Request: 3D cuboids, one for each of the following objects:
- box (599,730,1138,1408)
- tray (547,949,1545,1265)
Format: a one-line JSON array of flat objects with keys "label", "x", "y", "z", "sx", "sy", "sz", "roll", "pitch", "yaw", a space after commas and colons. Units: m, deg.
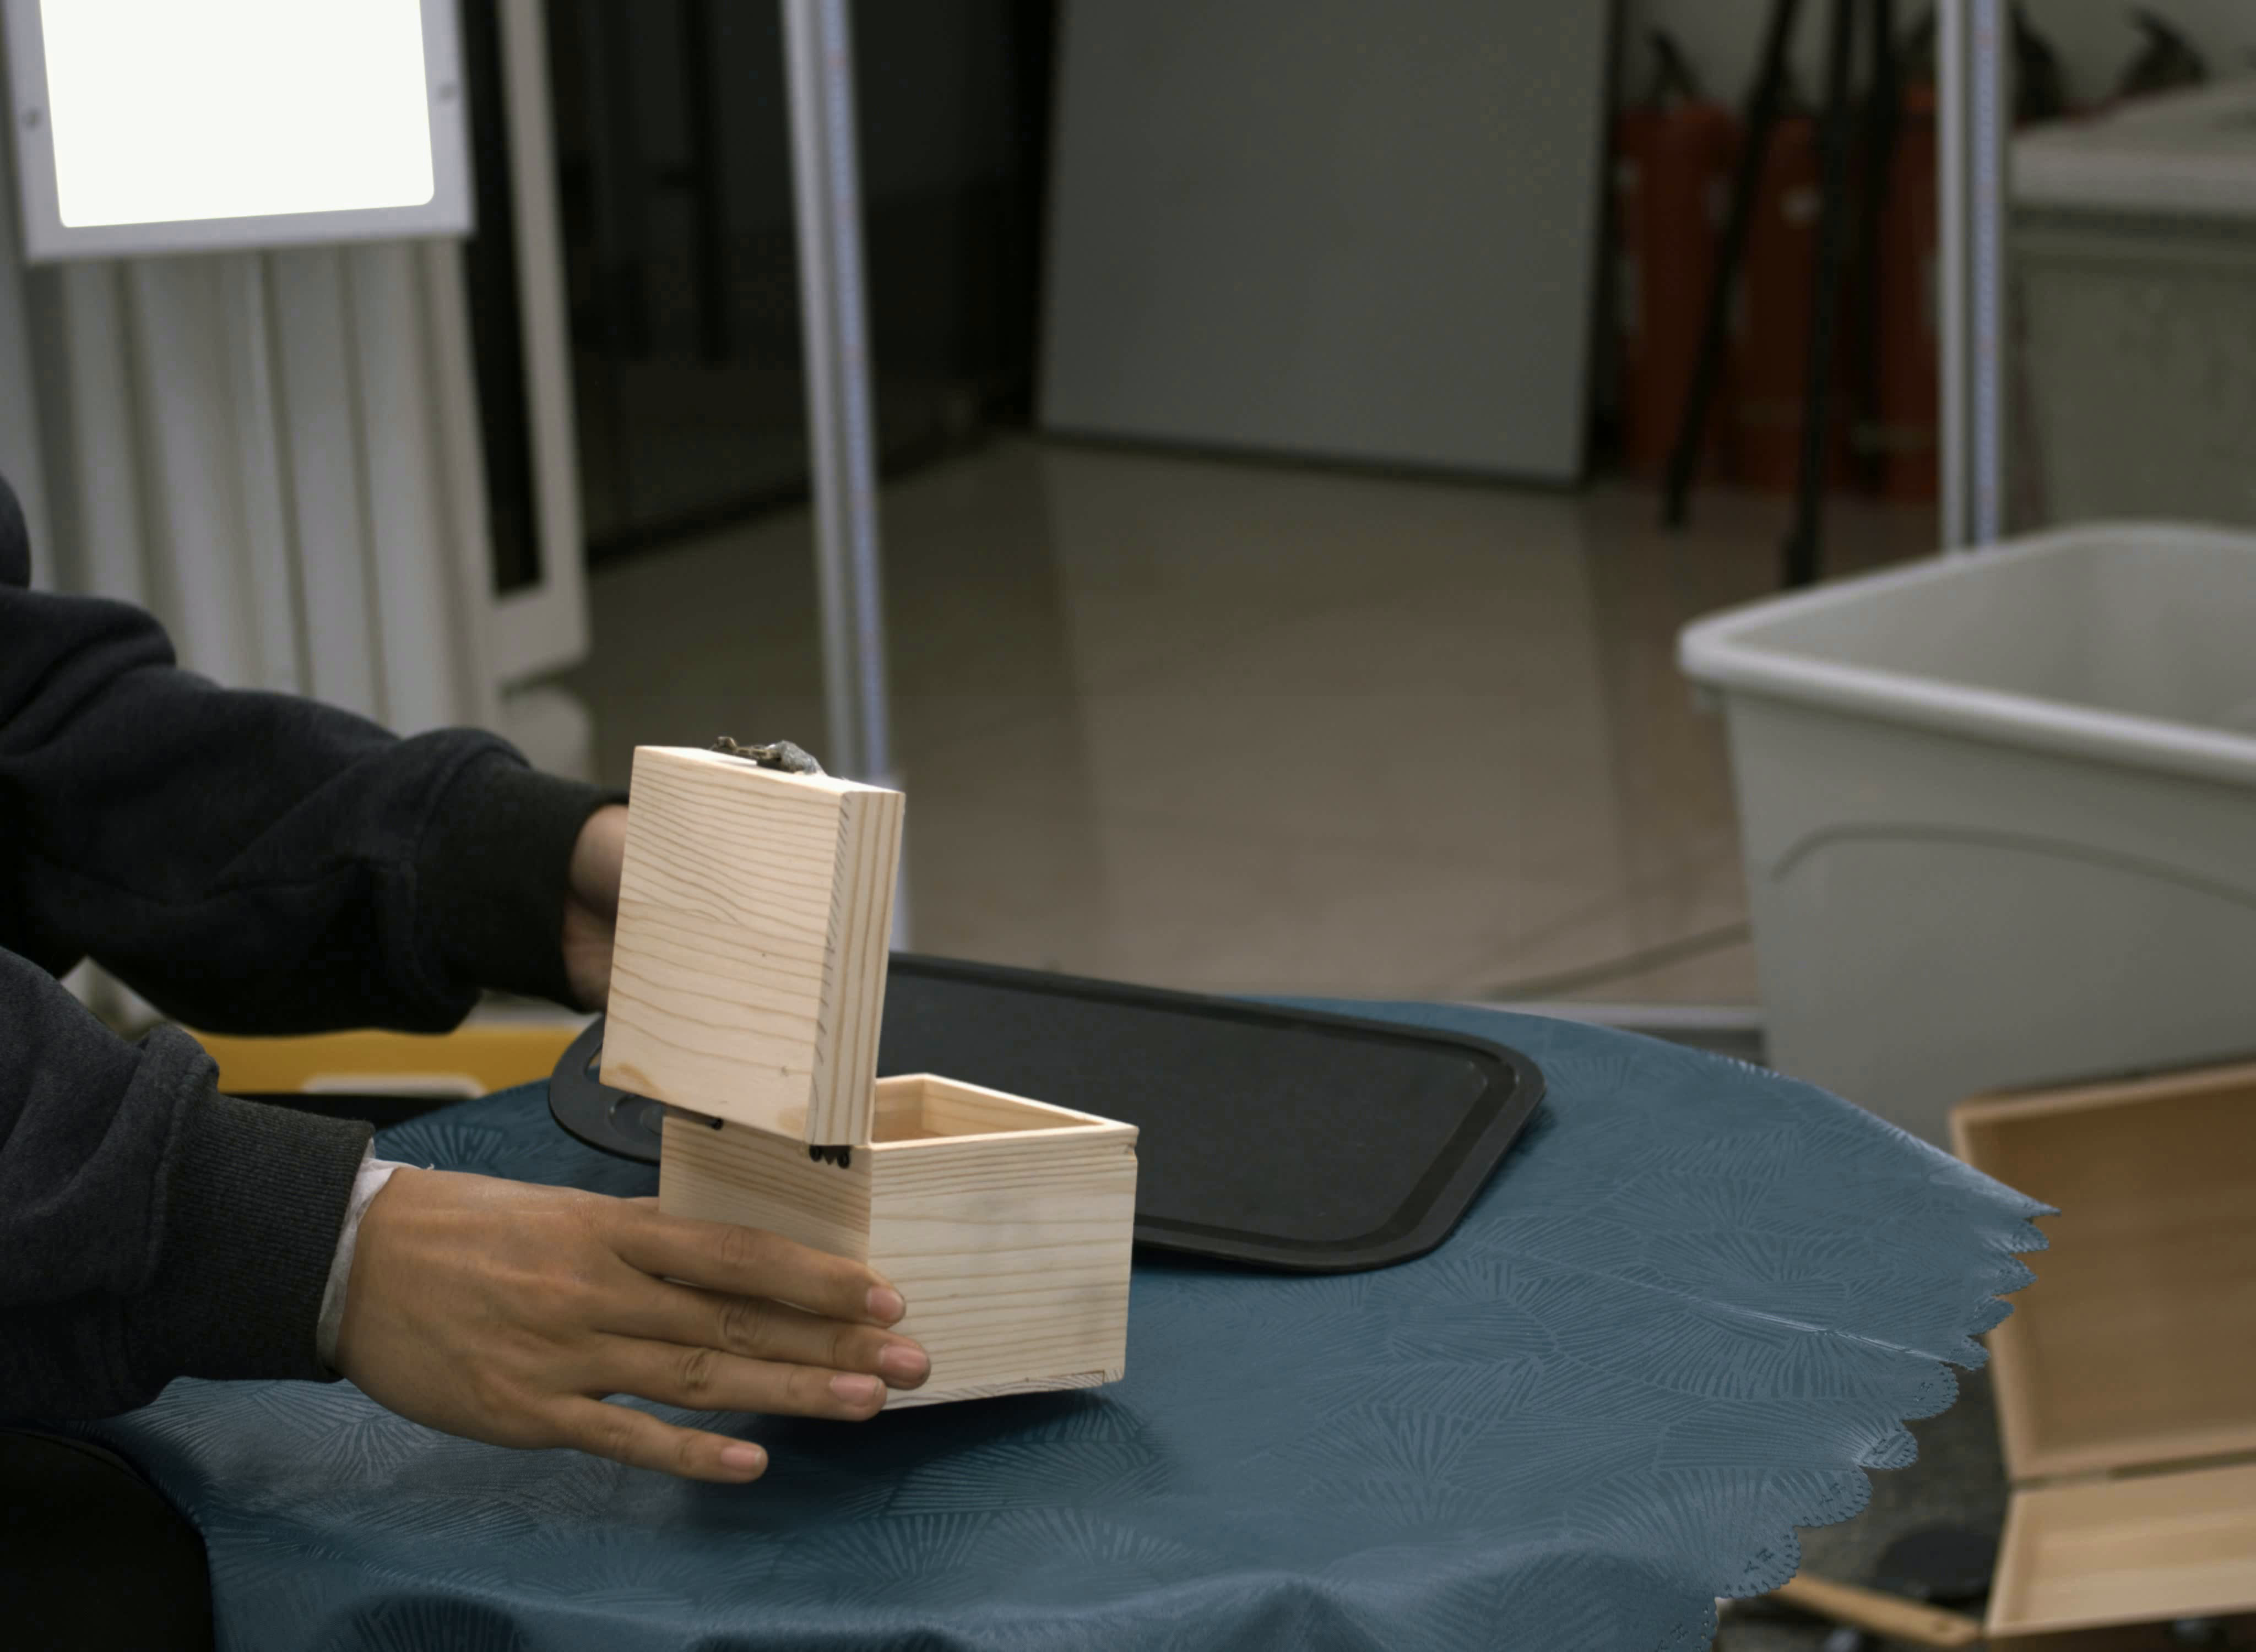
[{"label": "box", "x": -0.072, "y": 0.065, "z": 1.565, "sx": 0.131, "sy": 0.187, "sz": 0.103, "roll": -3, "pitch": 8, "yaw": -41}, {"label": "tray", "x": -0.032, "y": 0.088, "z": 1.803, "sx": 0.325, "sy": 0.010, "sz": 0.209, "roll": 8, "pitch": 20, "yaw": 19}]
